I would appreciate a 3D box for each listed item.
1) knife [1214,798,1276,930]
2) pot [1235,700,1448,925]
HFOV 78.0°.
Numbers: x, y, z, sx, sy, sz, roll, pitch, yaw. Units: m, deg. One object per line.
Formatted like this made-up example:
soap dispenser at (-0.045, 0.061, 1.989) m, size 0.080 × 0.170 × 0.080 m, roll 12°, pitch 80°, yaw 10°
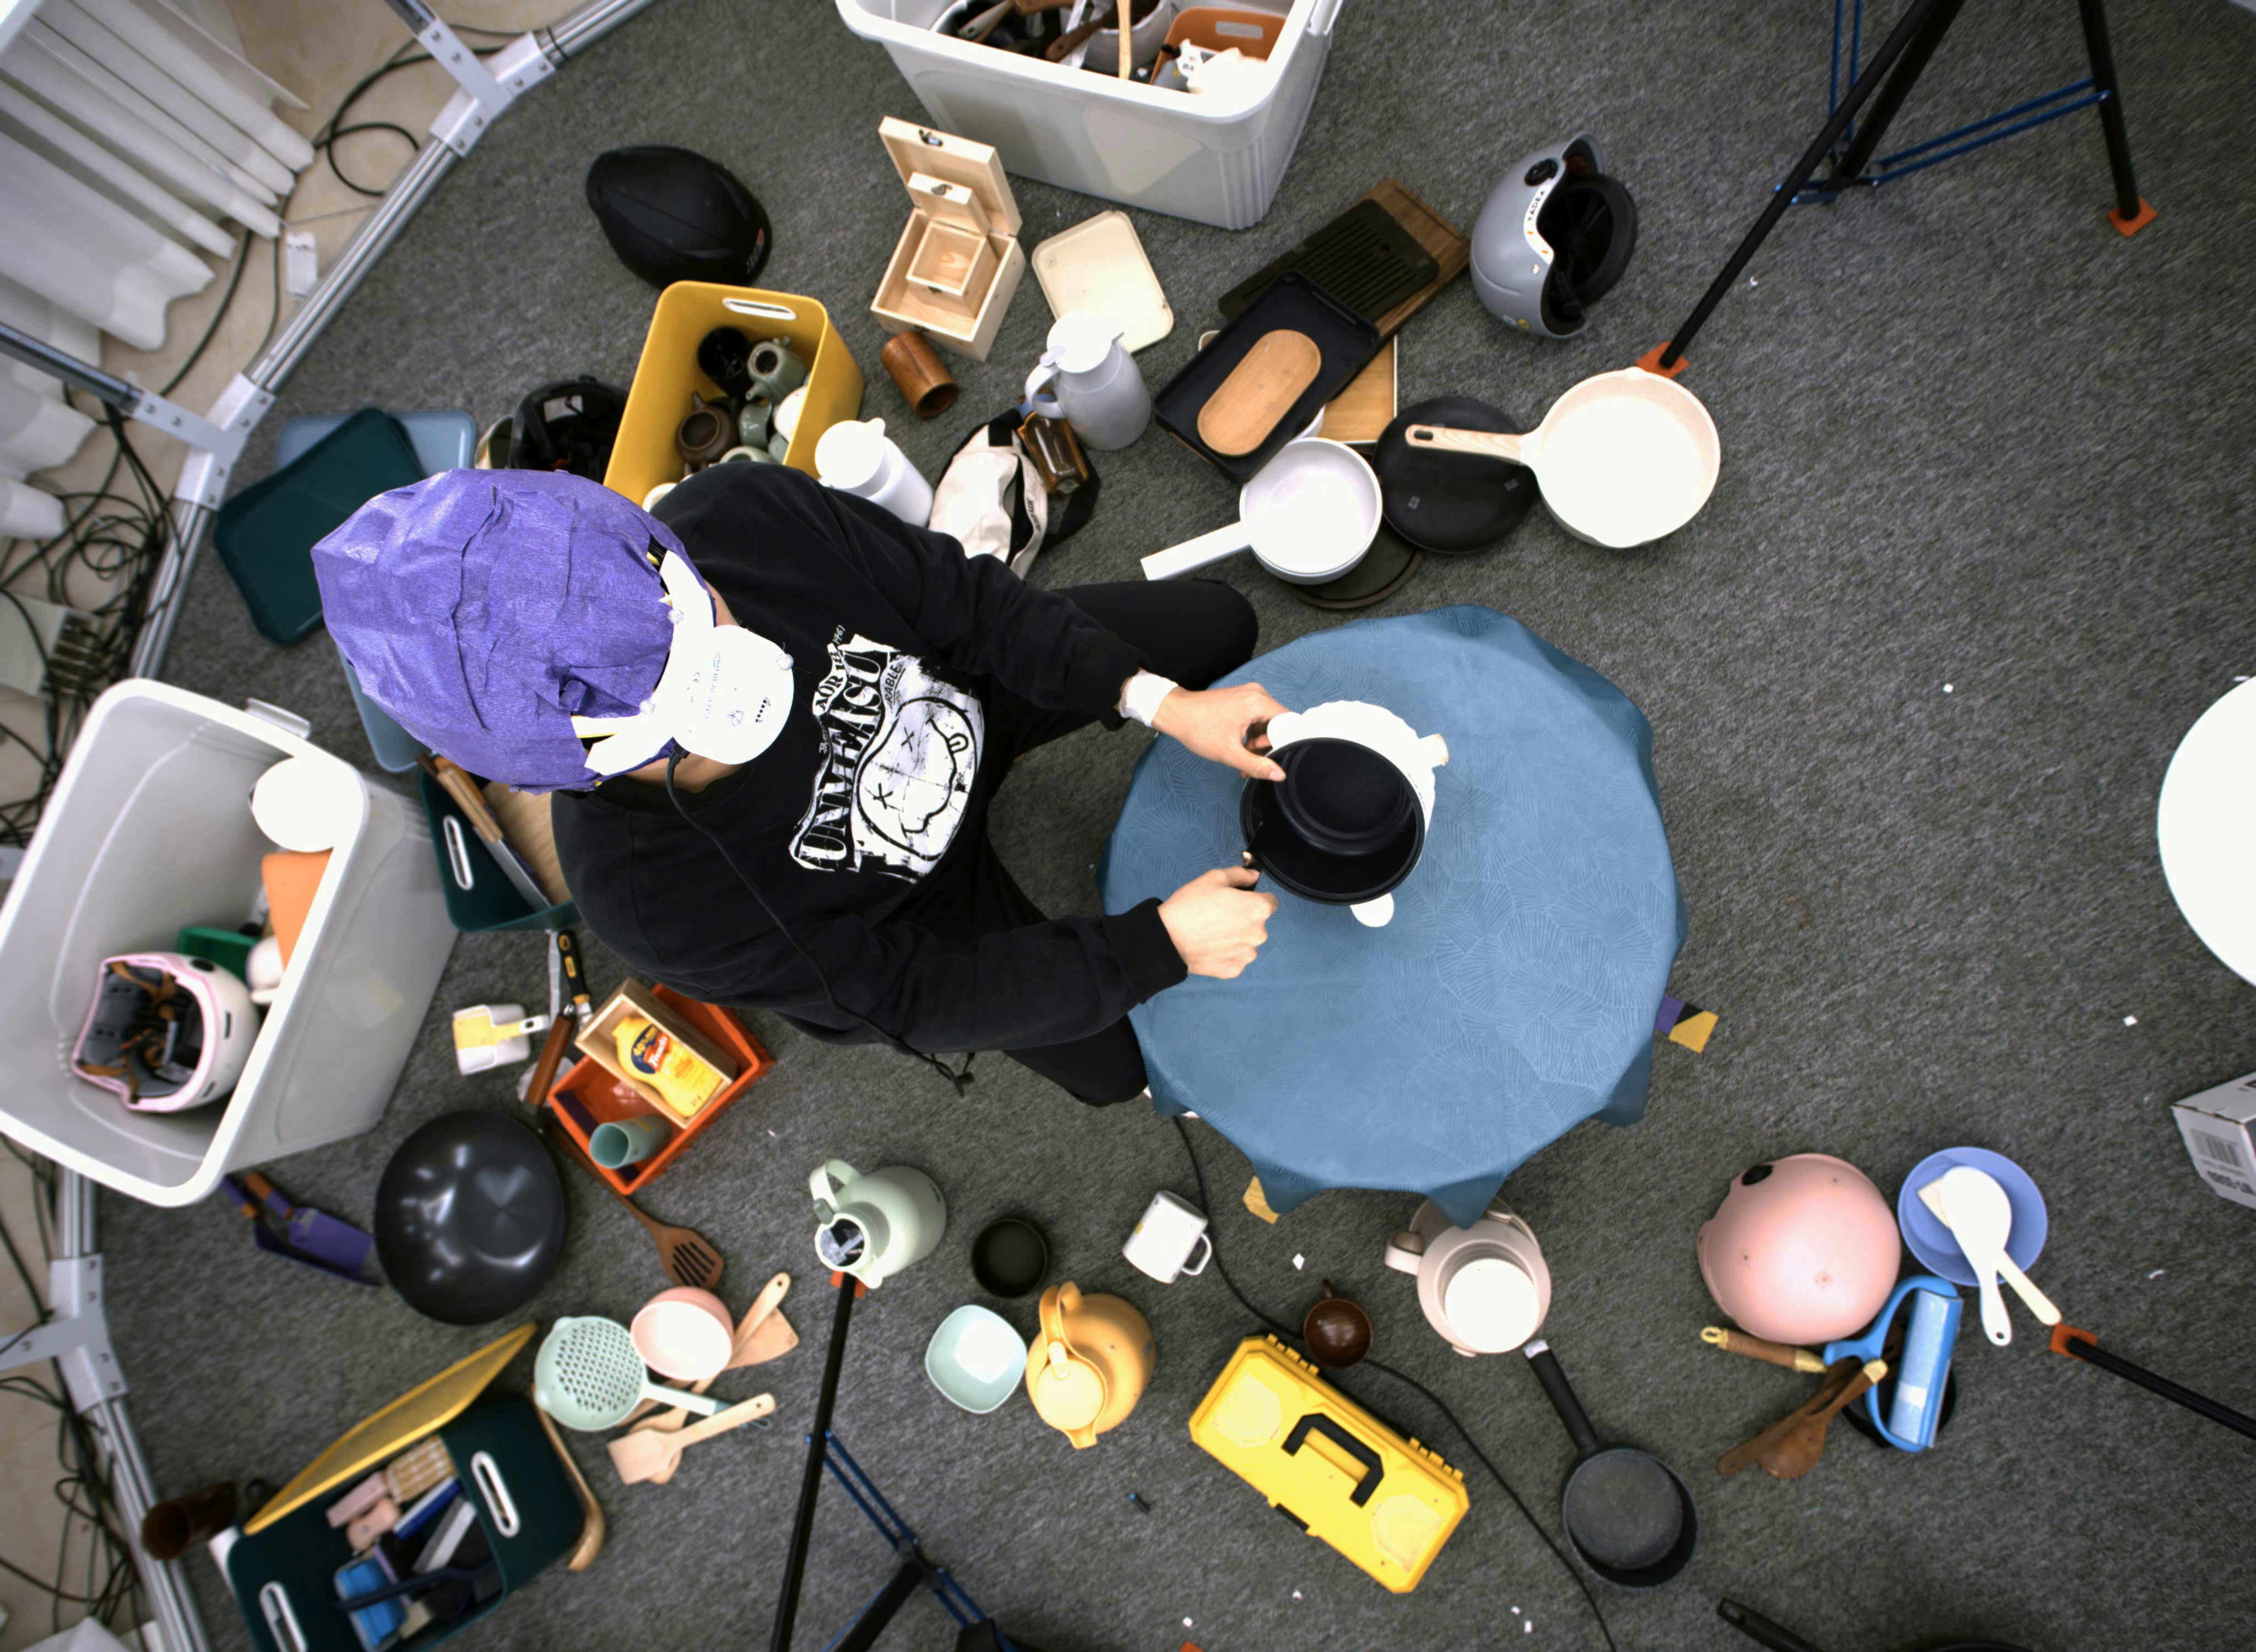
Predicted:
knife at (0.120, 0.032, 1.347) m, size 0.026 × 0.220 × 0.017 m, roll 35°, pitch 128°, yaw -2°
pot at (0.219, -0.035, 1.380) m, size 0.193 × 0.139 × 0.243 m, roll -18°, pitch 112°, yaw 33°
